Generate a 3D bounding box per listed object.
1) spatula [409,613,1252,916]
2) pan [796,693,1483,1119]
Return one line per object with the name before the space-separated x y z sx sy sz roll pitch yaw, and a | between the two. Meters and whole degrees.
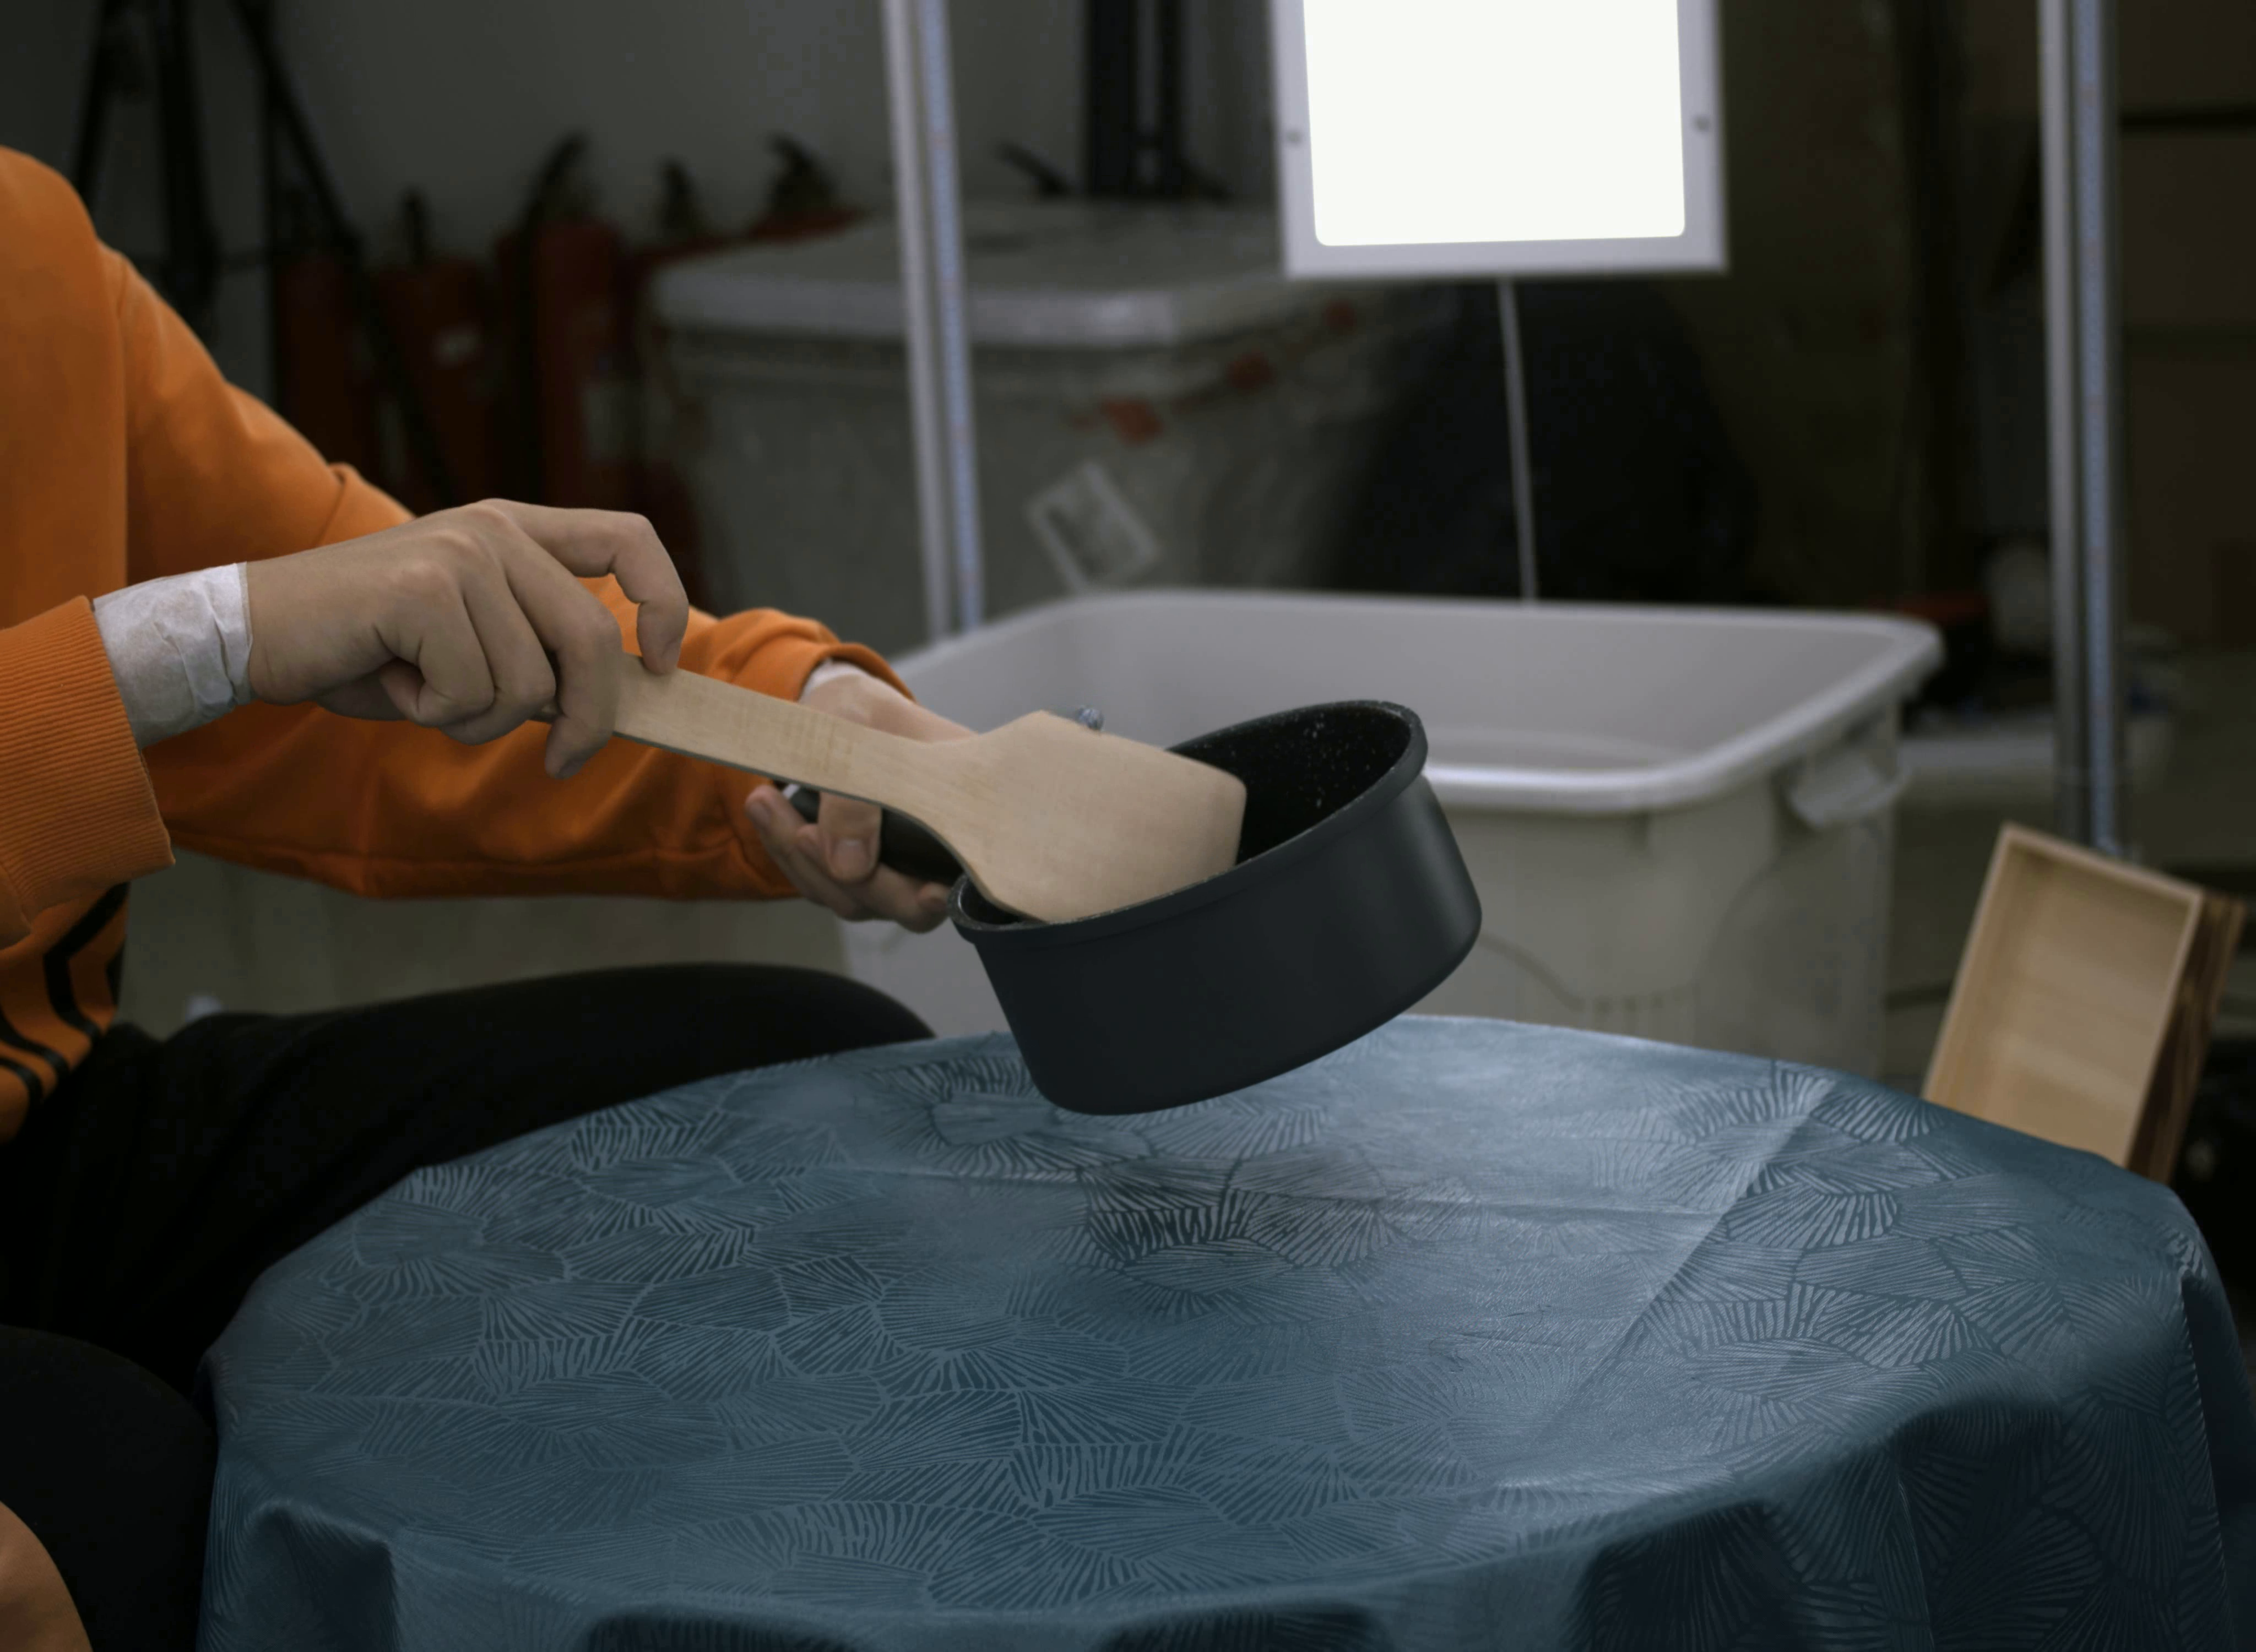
spatula | -0.095 -0.021 1.809 0.289 0.072 0.011 16 -15 -15
pan | -0.013 0.023 1.915 0.168 0.086 0.335 -30 18 -27
